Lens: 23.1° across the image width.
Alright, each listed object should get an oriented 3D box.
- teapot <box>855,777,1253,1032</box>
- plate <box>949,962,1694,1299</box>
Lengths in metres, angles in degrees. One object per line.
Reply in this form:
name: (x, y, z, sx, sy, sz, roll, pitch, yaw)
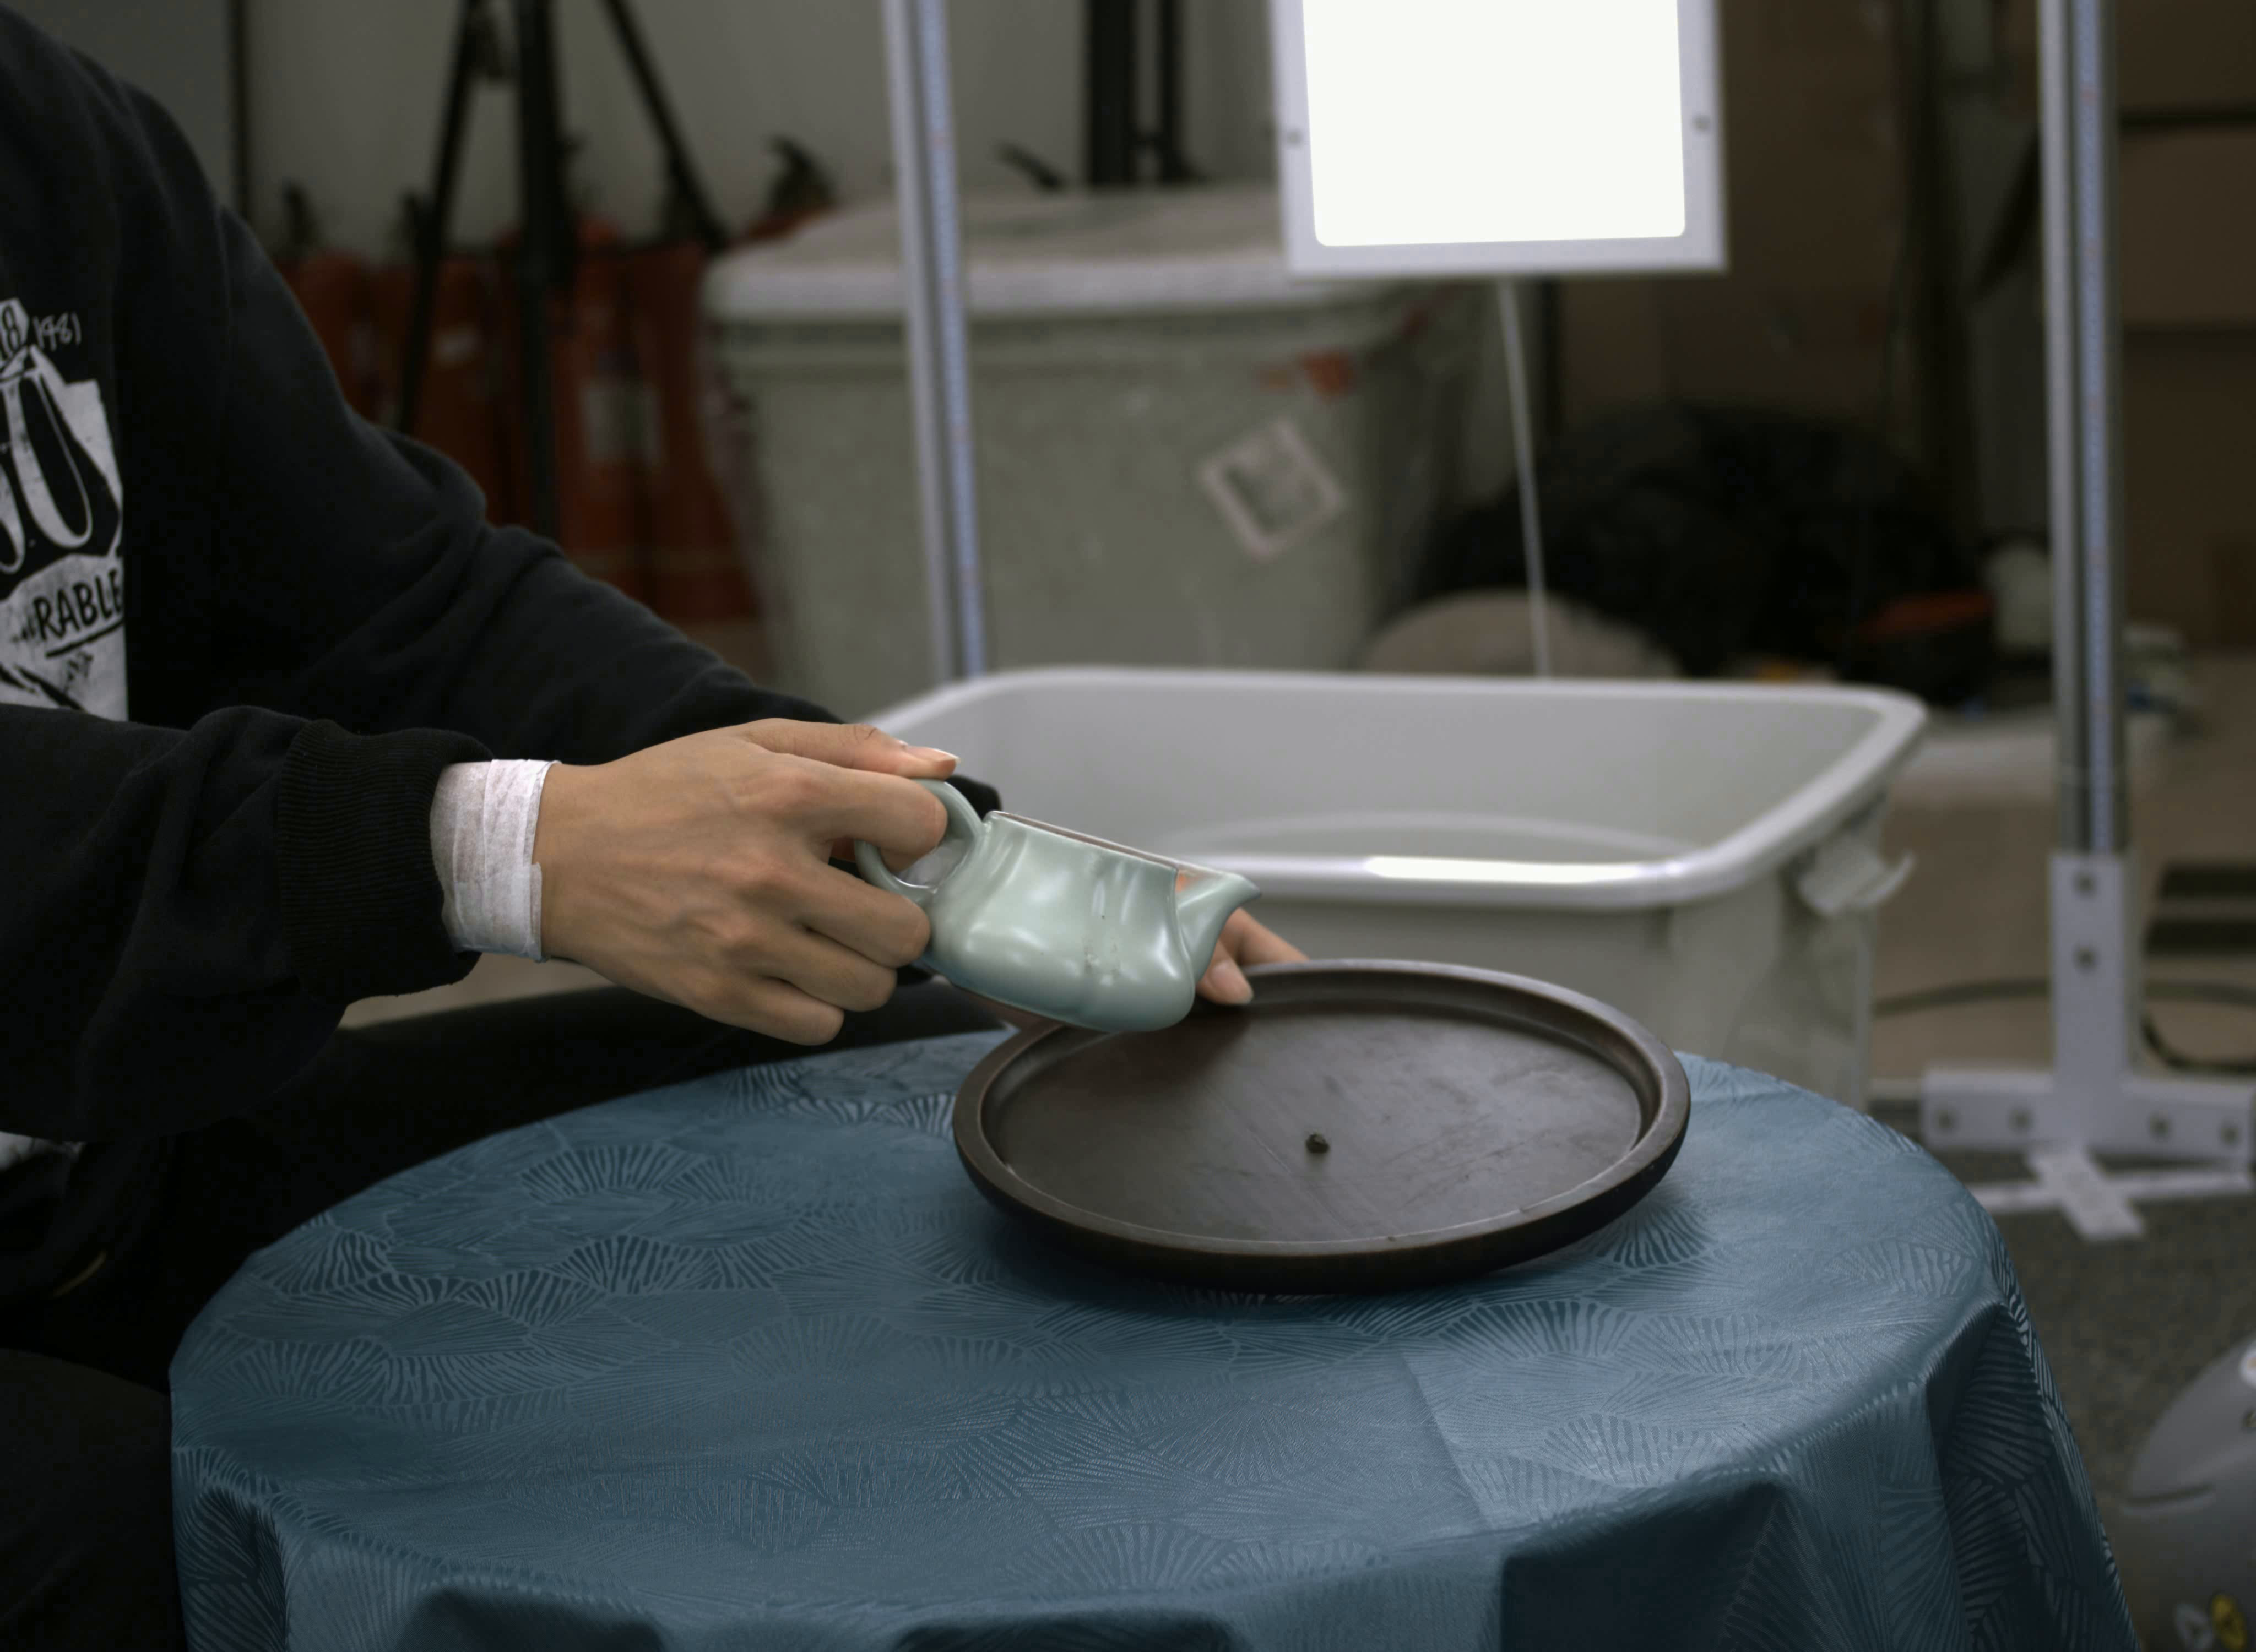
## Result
teapot: (-0.027, 0.027, 1.723, 0.134, 0.061, 0.097, 16, 4, -24)
plate: (0.066, 0.101, 1.873, 0.254, 0.029, 0.254, -3, 22, 0)
